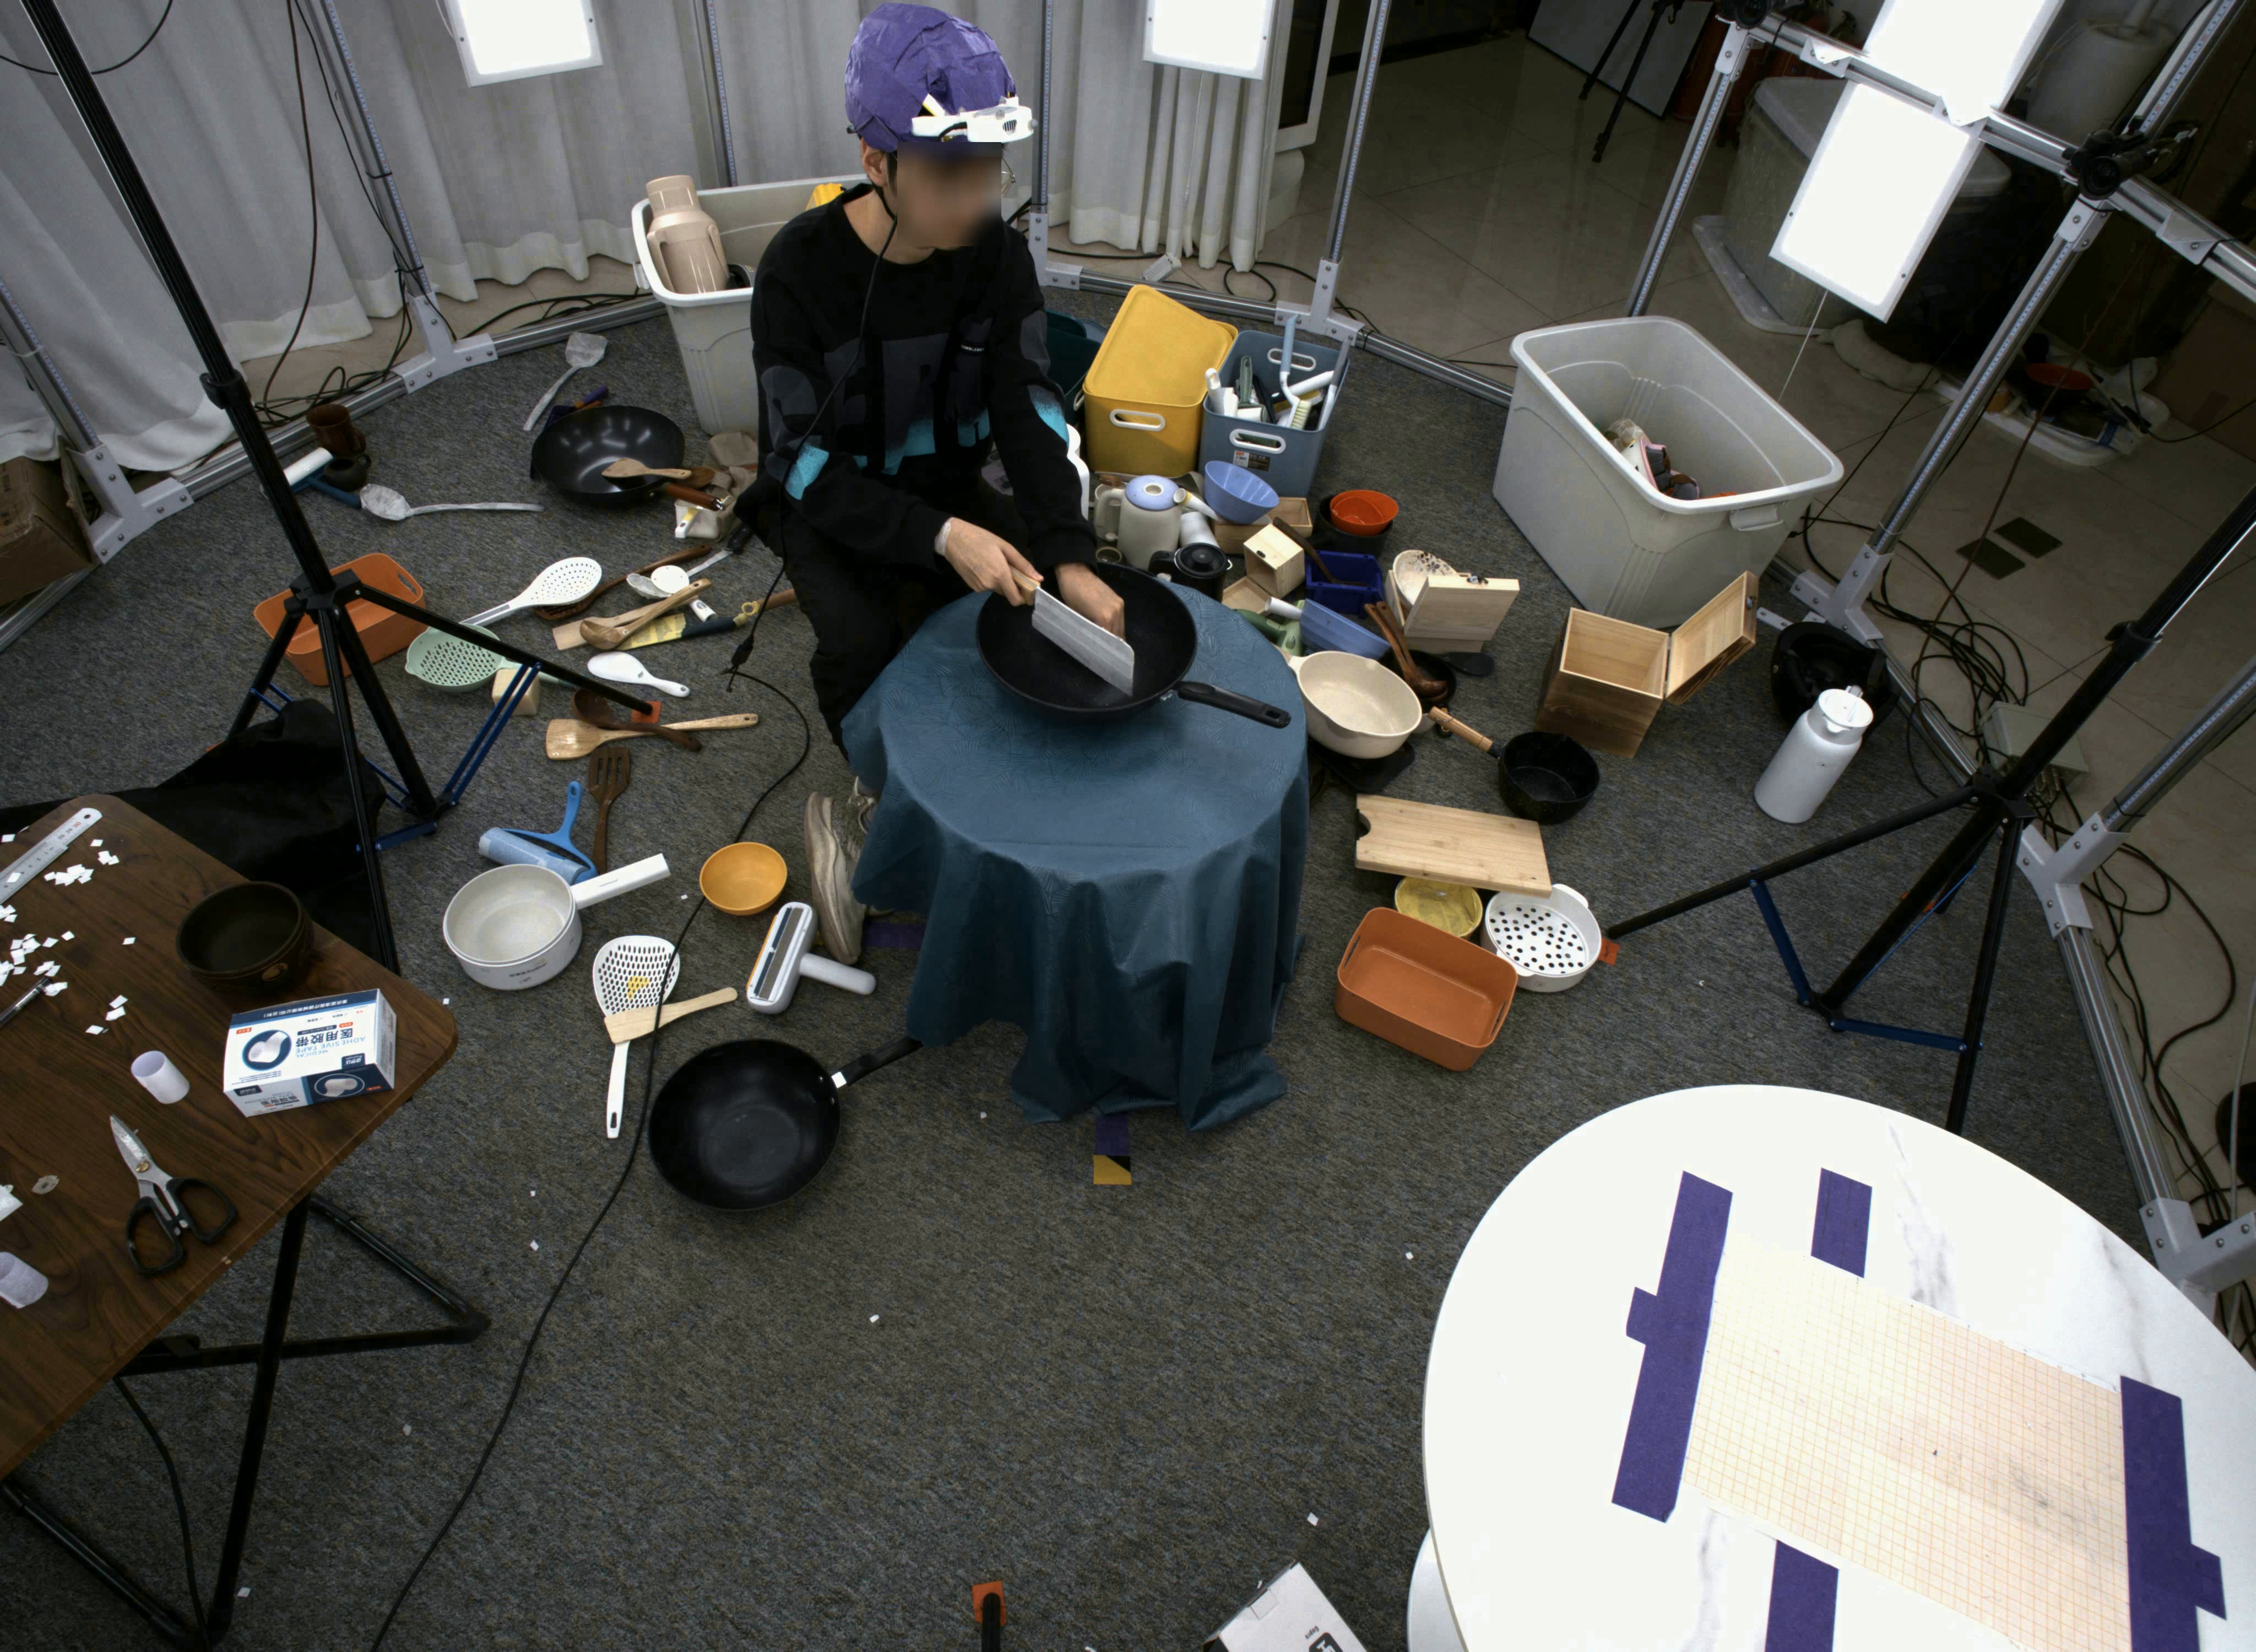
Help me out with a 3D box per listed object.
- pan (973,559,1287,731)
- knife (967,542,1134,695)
[{"bbox_3d":[0.007,-0.214,1.786,0.482,0.109,0.314,30,55,21],"label":"pan"},{"bbox_3d":[-0.105,-0.297,1.787,0.318,0.111,0.022,39,61,16],"label":"knife"}]
